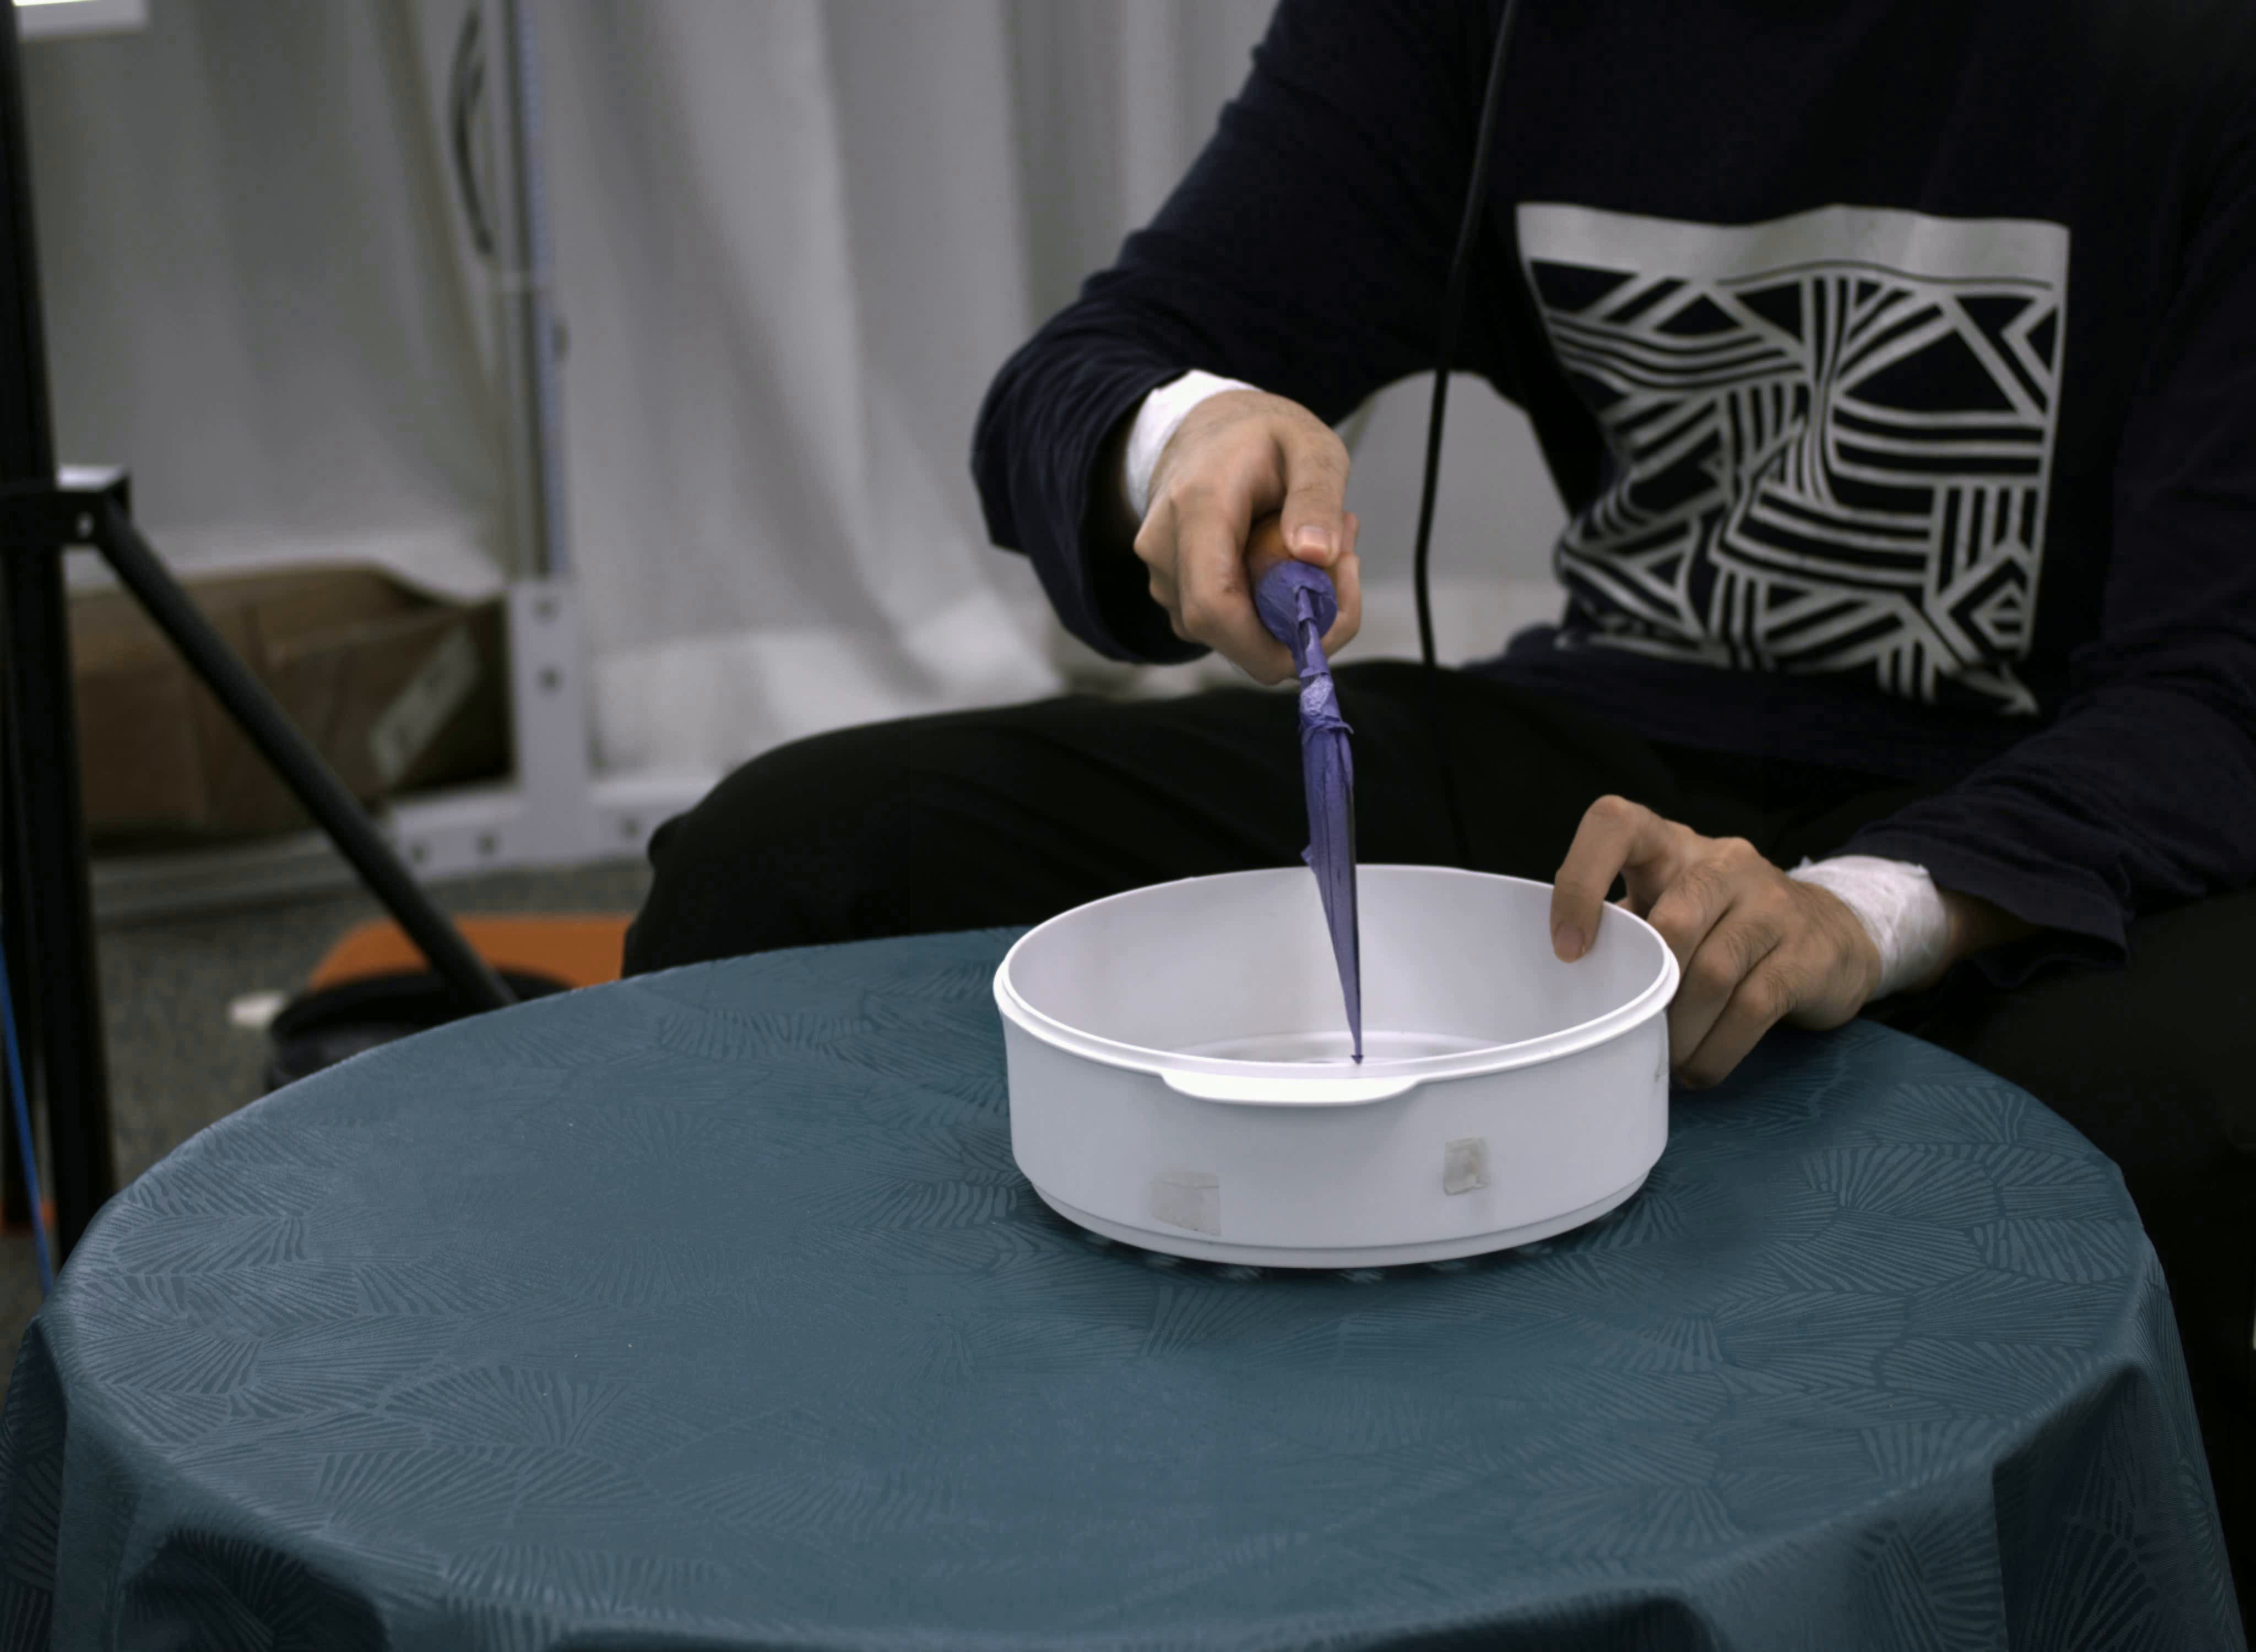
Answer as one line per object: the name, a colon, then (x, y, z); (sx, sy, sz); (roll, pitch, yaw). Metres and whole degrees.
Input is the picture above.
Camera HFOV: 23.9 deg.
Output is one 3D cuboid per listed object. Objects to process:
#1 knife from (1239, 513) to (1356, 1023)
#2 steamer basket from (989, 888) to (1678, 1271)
knife: (0.051, -0.020, 1.591); (0.032, 0.104, 0.316); (-1, 15, 1)
steamer basket: (0.060, 0.074, 1.555); (0.203, 0.069, 0.229); (2, 13, 11)
